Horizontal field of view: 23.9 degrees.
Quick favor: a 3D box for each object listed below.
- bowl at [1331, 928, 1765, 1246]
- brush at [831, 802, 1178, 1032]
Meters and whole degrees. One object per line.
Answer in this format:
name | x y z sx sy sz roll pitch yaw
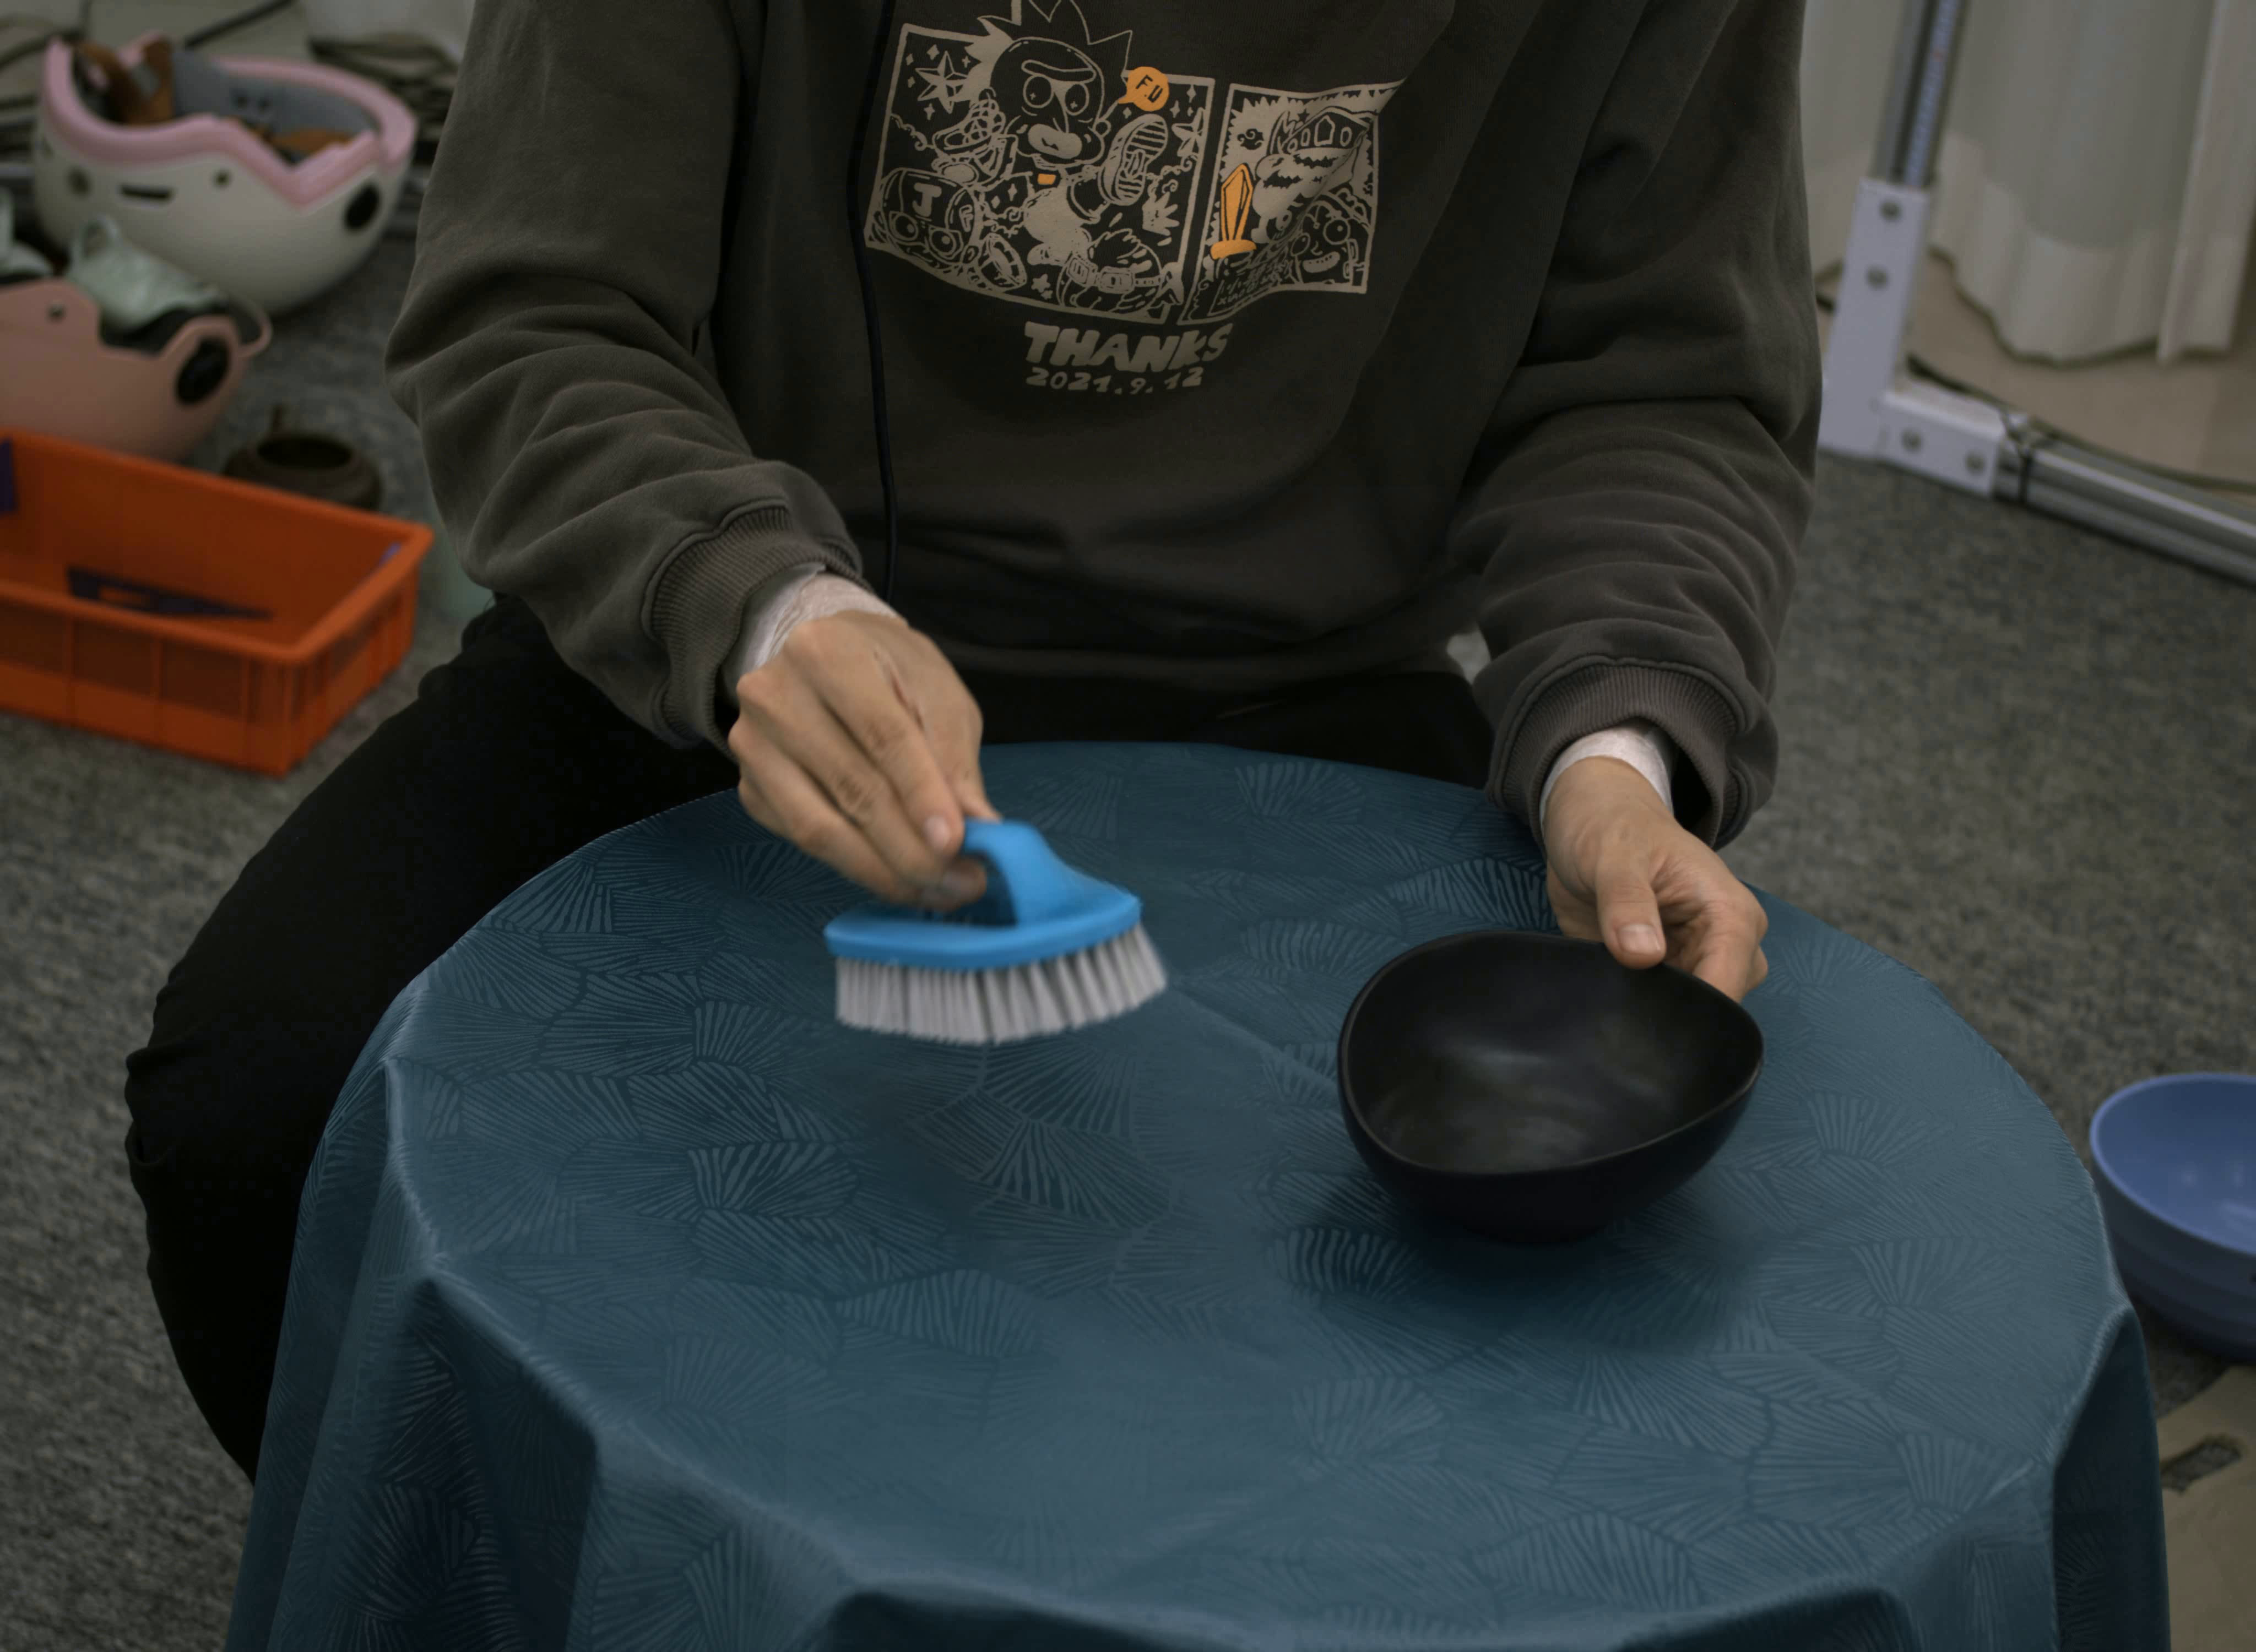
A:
bowl | 0.140 0.099 1.815 0.138 0.066 0.170 22 32 29
brush | -0.047 0.024 1.761 0.084 0.064 0.142 -23 12 -28
